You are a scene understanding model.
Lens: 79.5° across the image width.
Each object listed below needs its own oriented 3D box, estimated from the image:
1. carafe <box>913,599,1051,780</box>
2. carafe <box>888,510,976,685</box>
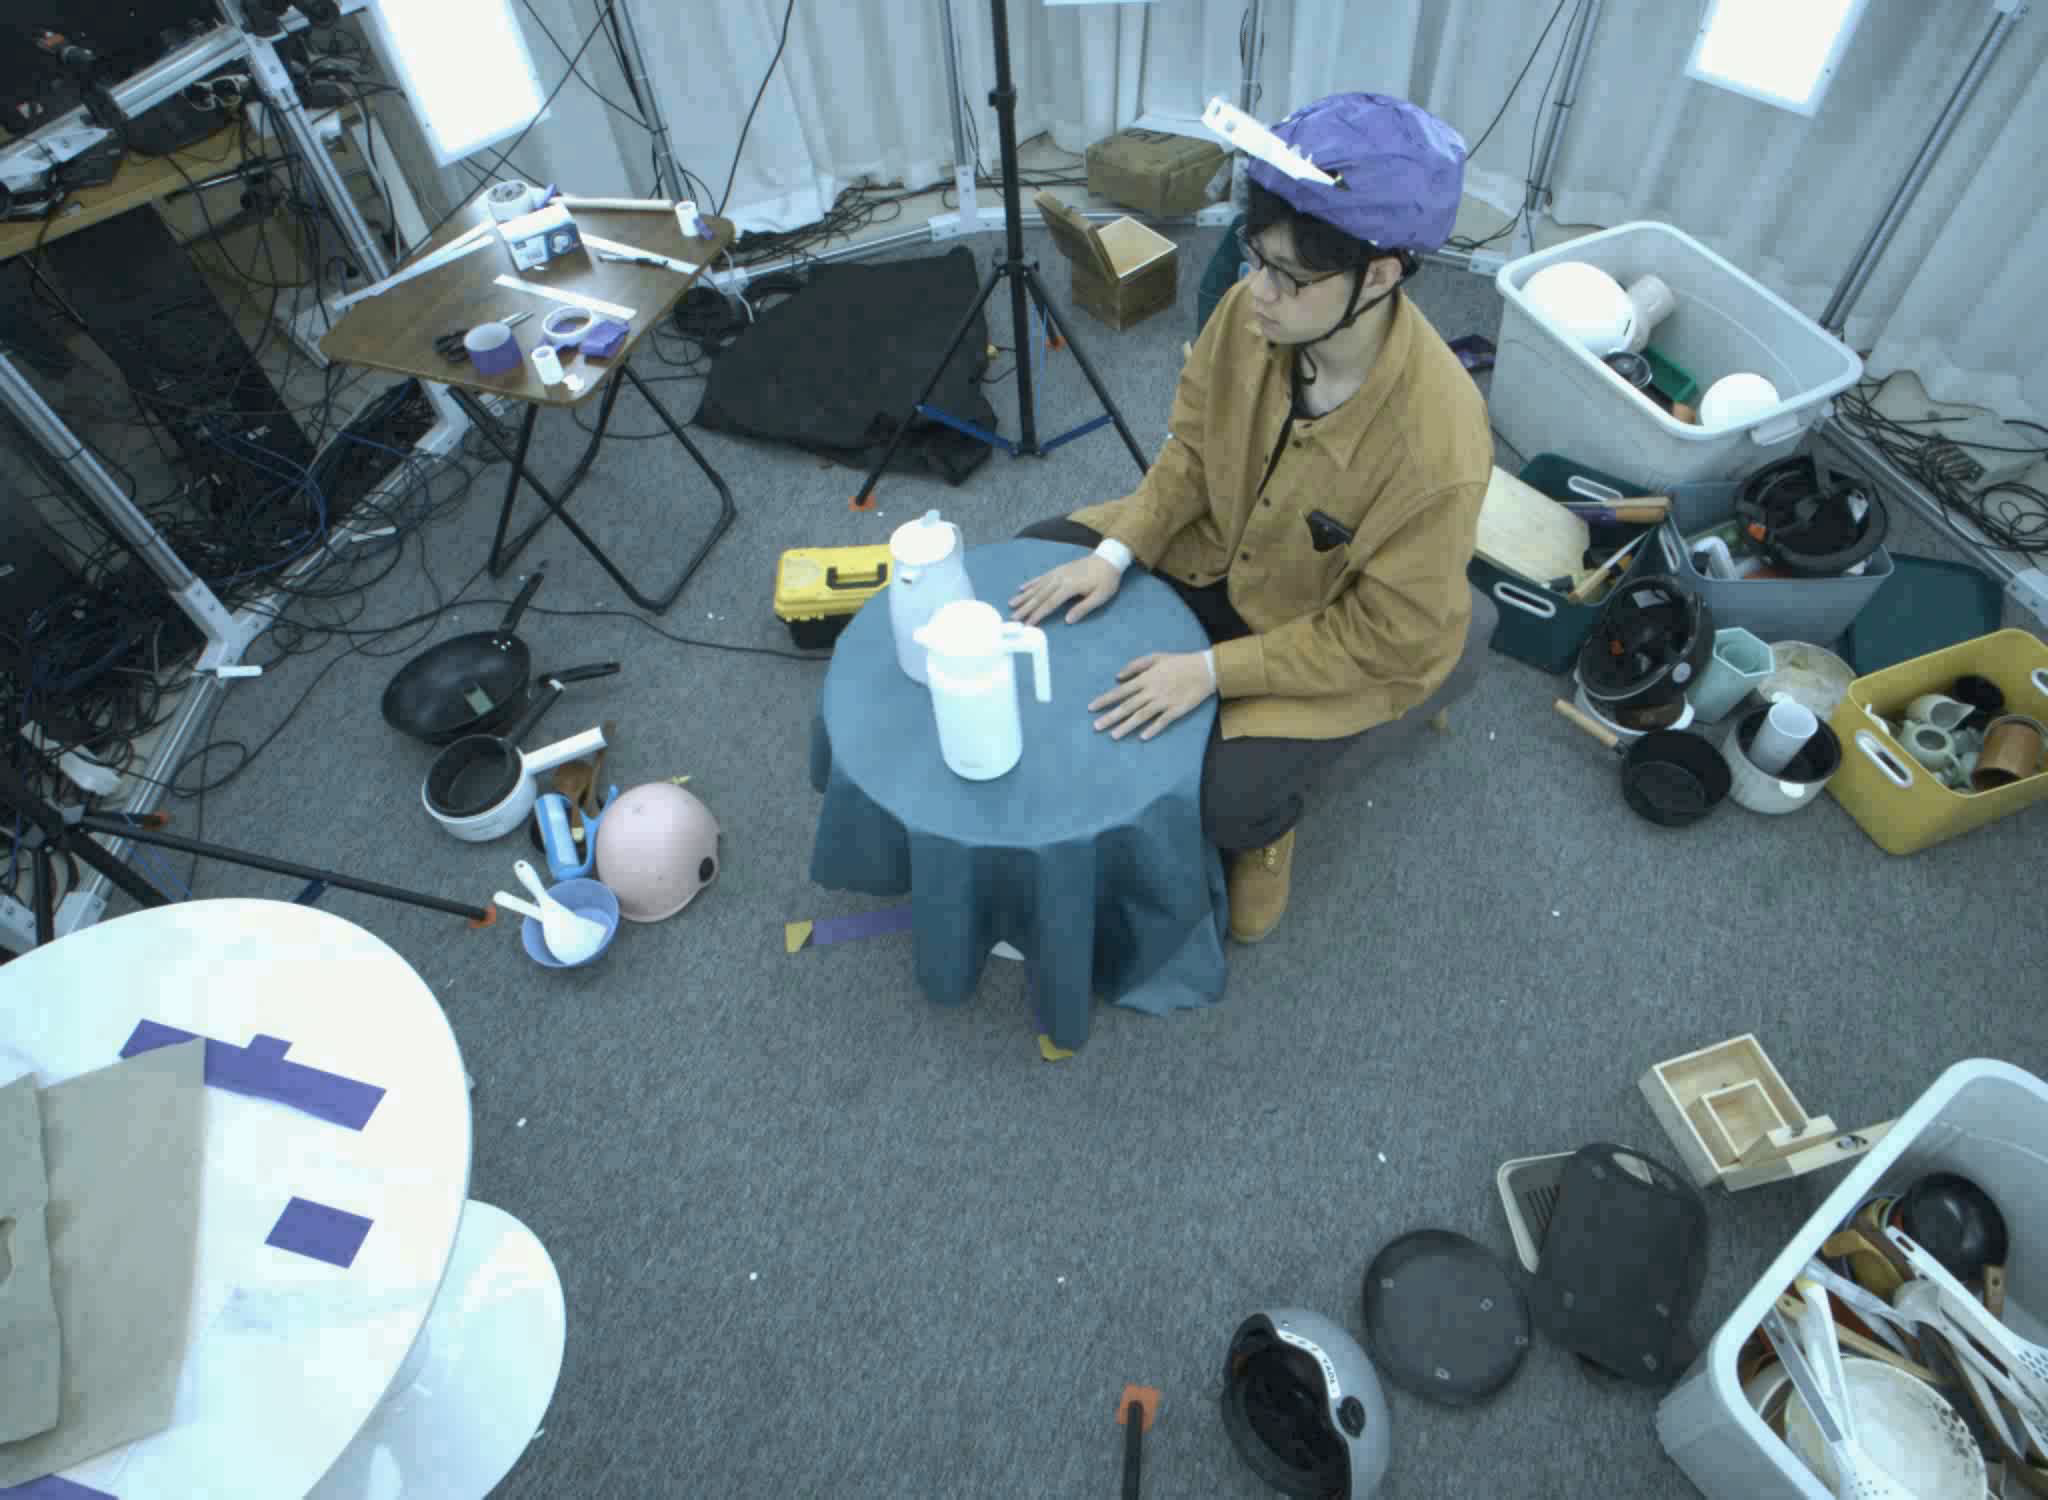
[{"bbox_3d":[-0.051,-0.080,1.677,0.173,0.272,0.122,-3,52,1],"label":"carafe"},{"bbox_3d":[-0.132,-0.237,1.803,0.131,0.251,0.167,14,55,13],"label":"carafe"}]
